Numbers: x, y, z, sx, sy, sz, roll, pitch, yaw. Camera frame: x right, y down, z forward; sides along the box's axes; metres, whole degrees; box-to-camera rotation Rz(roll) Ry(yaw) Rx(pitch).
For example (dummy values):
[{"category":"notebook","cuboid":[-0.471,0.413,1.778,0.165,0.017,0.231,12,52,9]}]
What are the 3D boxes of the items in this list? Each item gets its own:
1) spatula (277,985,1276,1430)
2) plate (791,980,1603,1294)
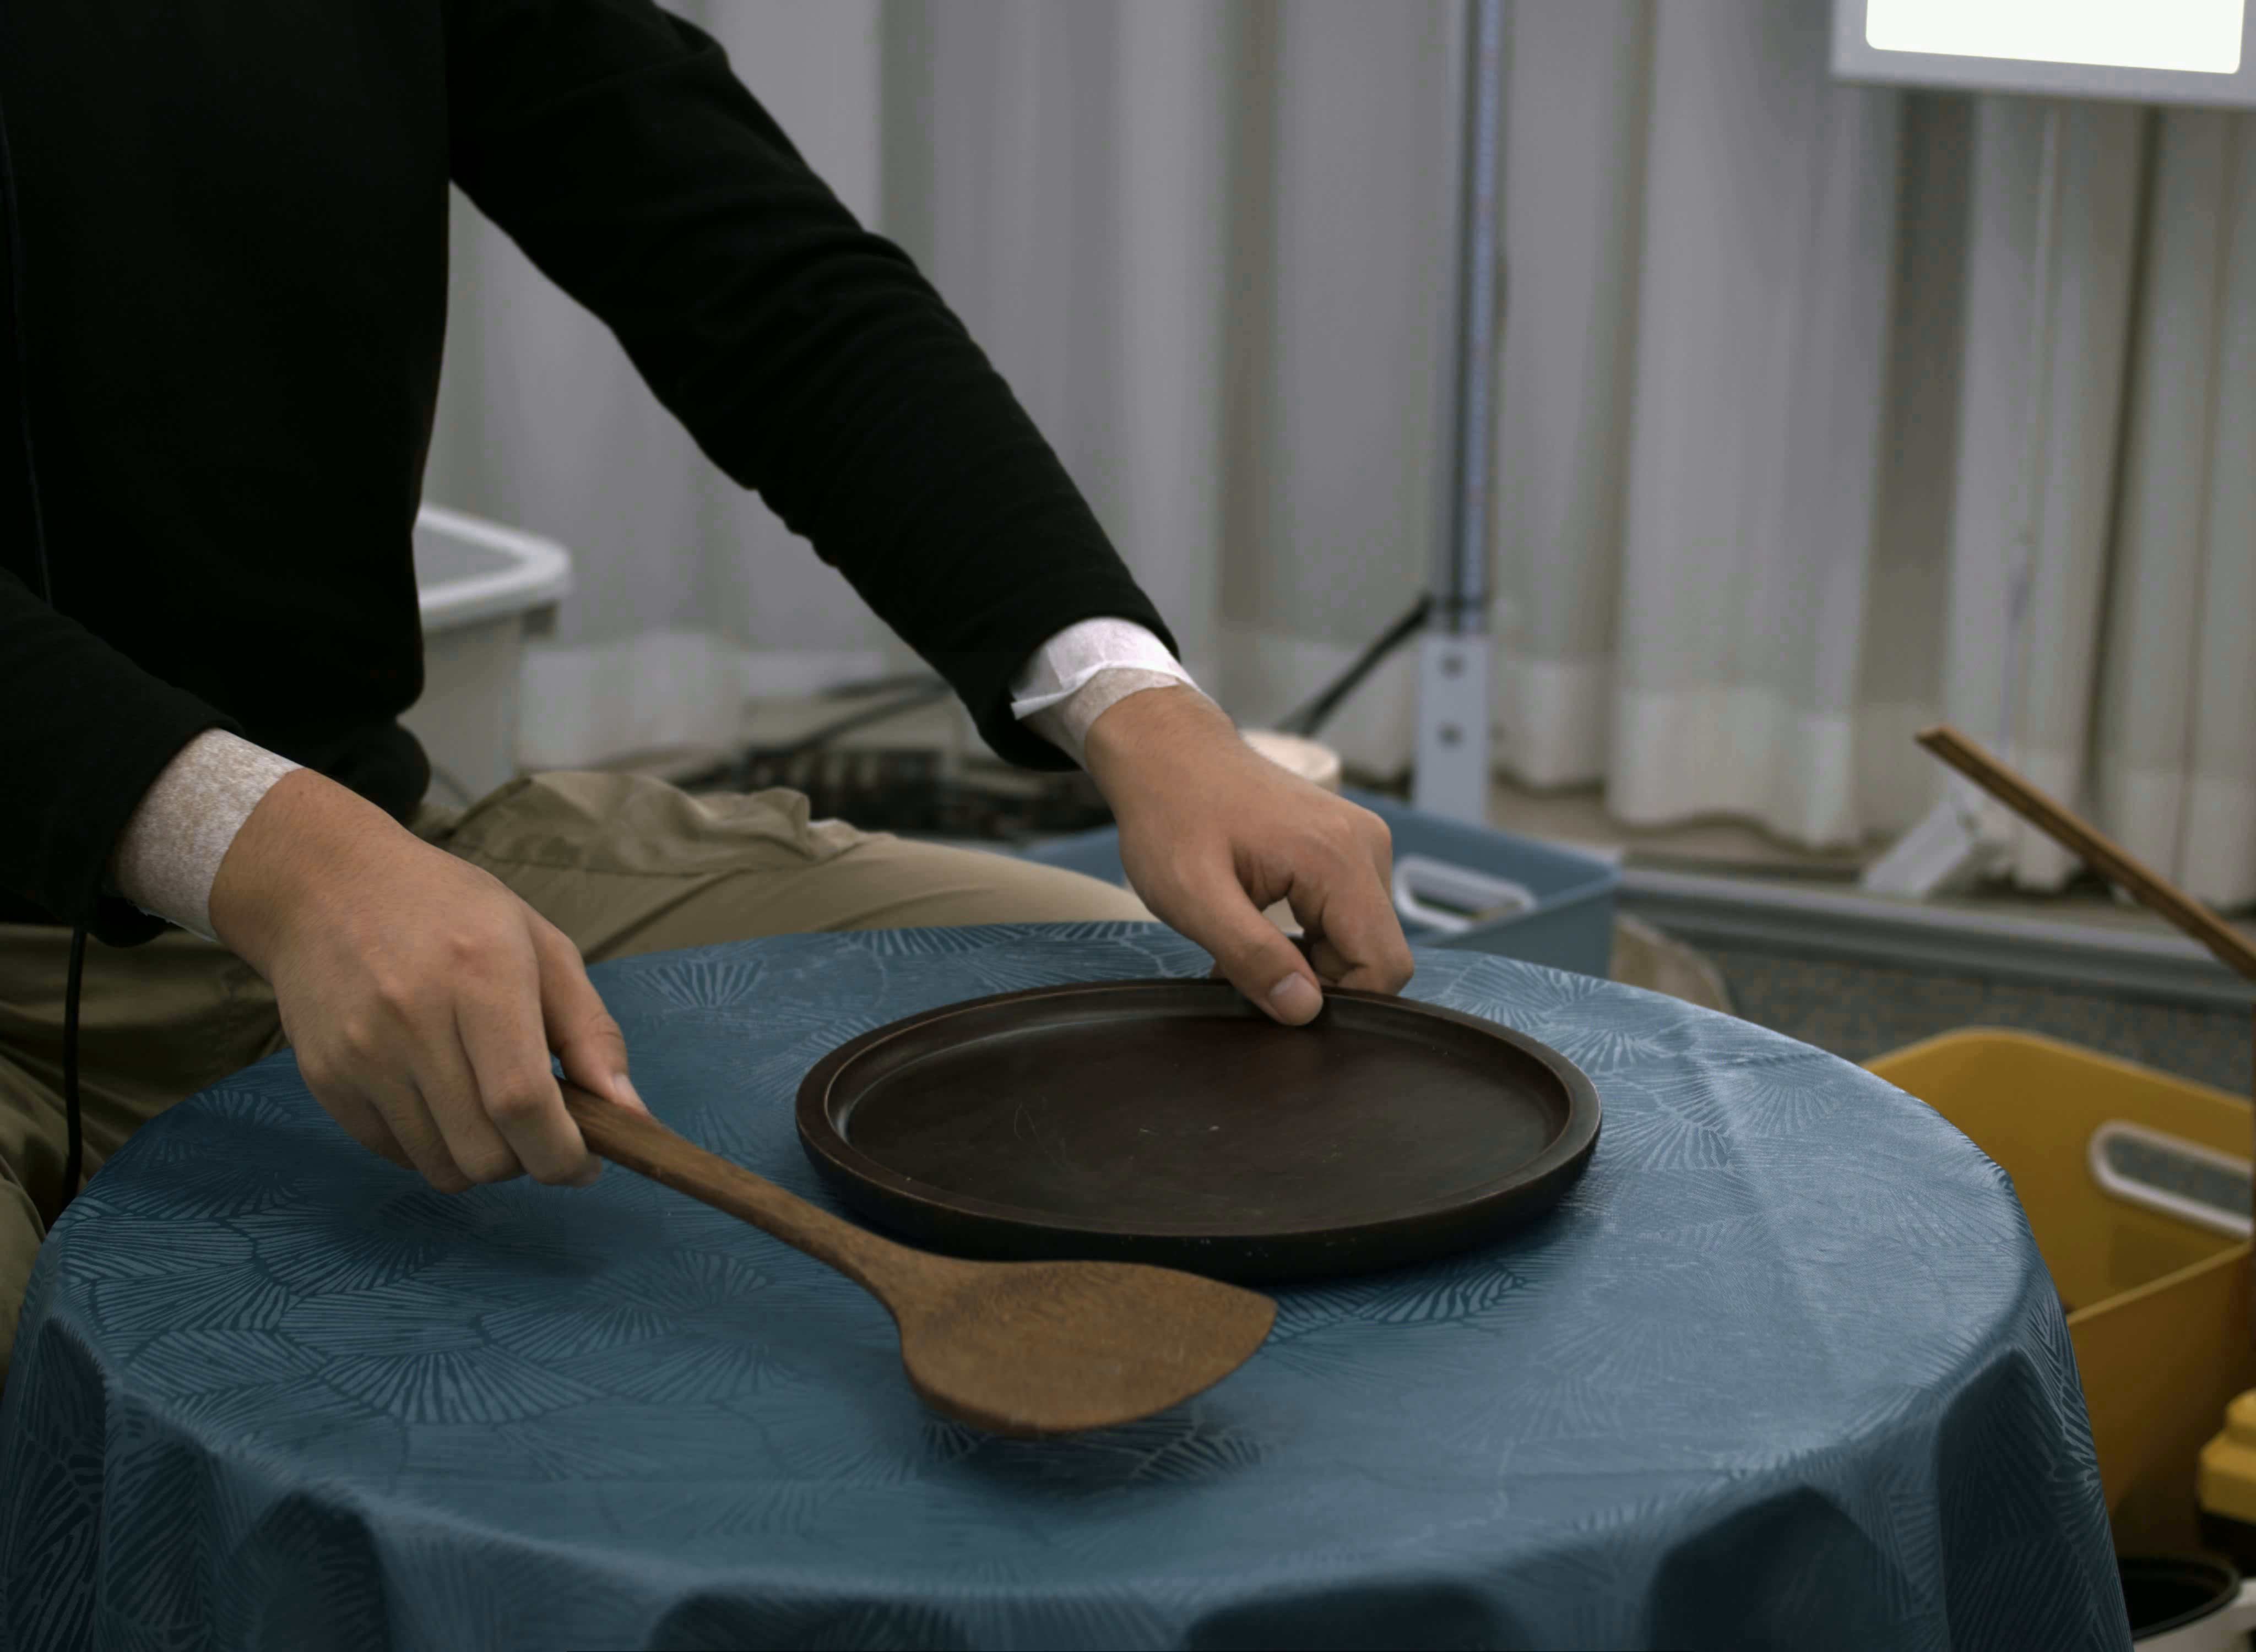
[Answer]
[{"category":"spatula","cuboid":[-0.121,0.101,1.514,0.380,0.016,0.096,20,31,38]},{"category":"plate","cuboid":[0.021,0.095,1.644,0.254,0.029,0.253,2,17,0]}]
